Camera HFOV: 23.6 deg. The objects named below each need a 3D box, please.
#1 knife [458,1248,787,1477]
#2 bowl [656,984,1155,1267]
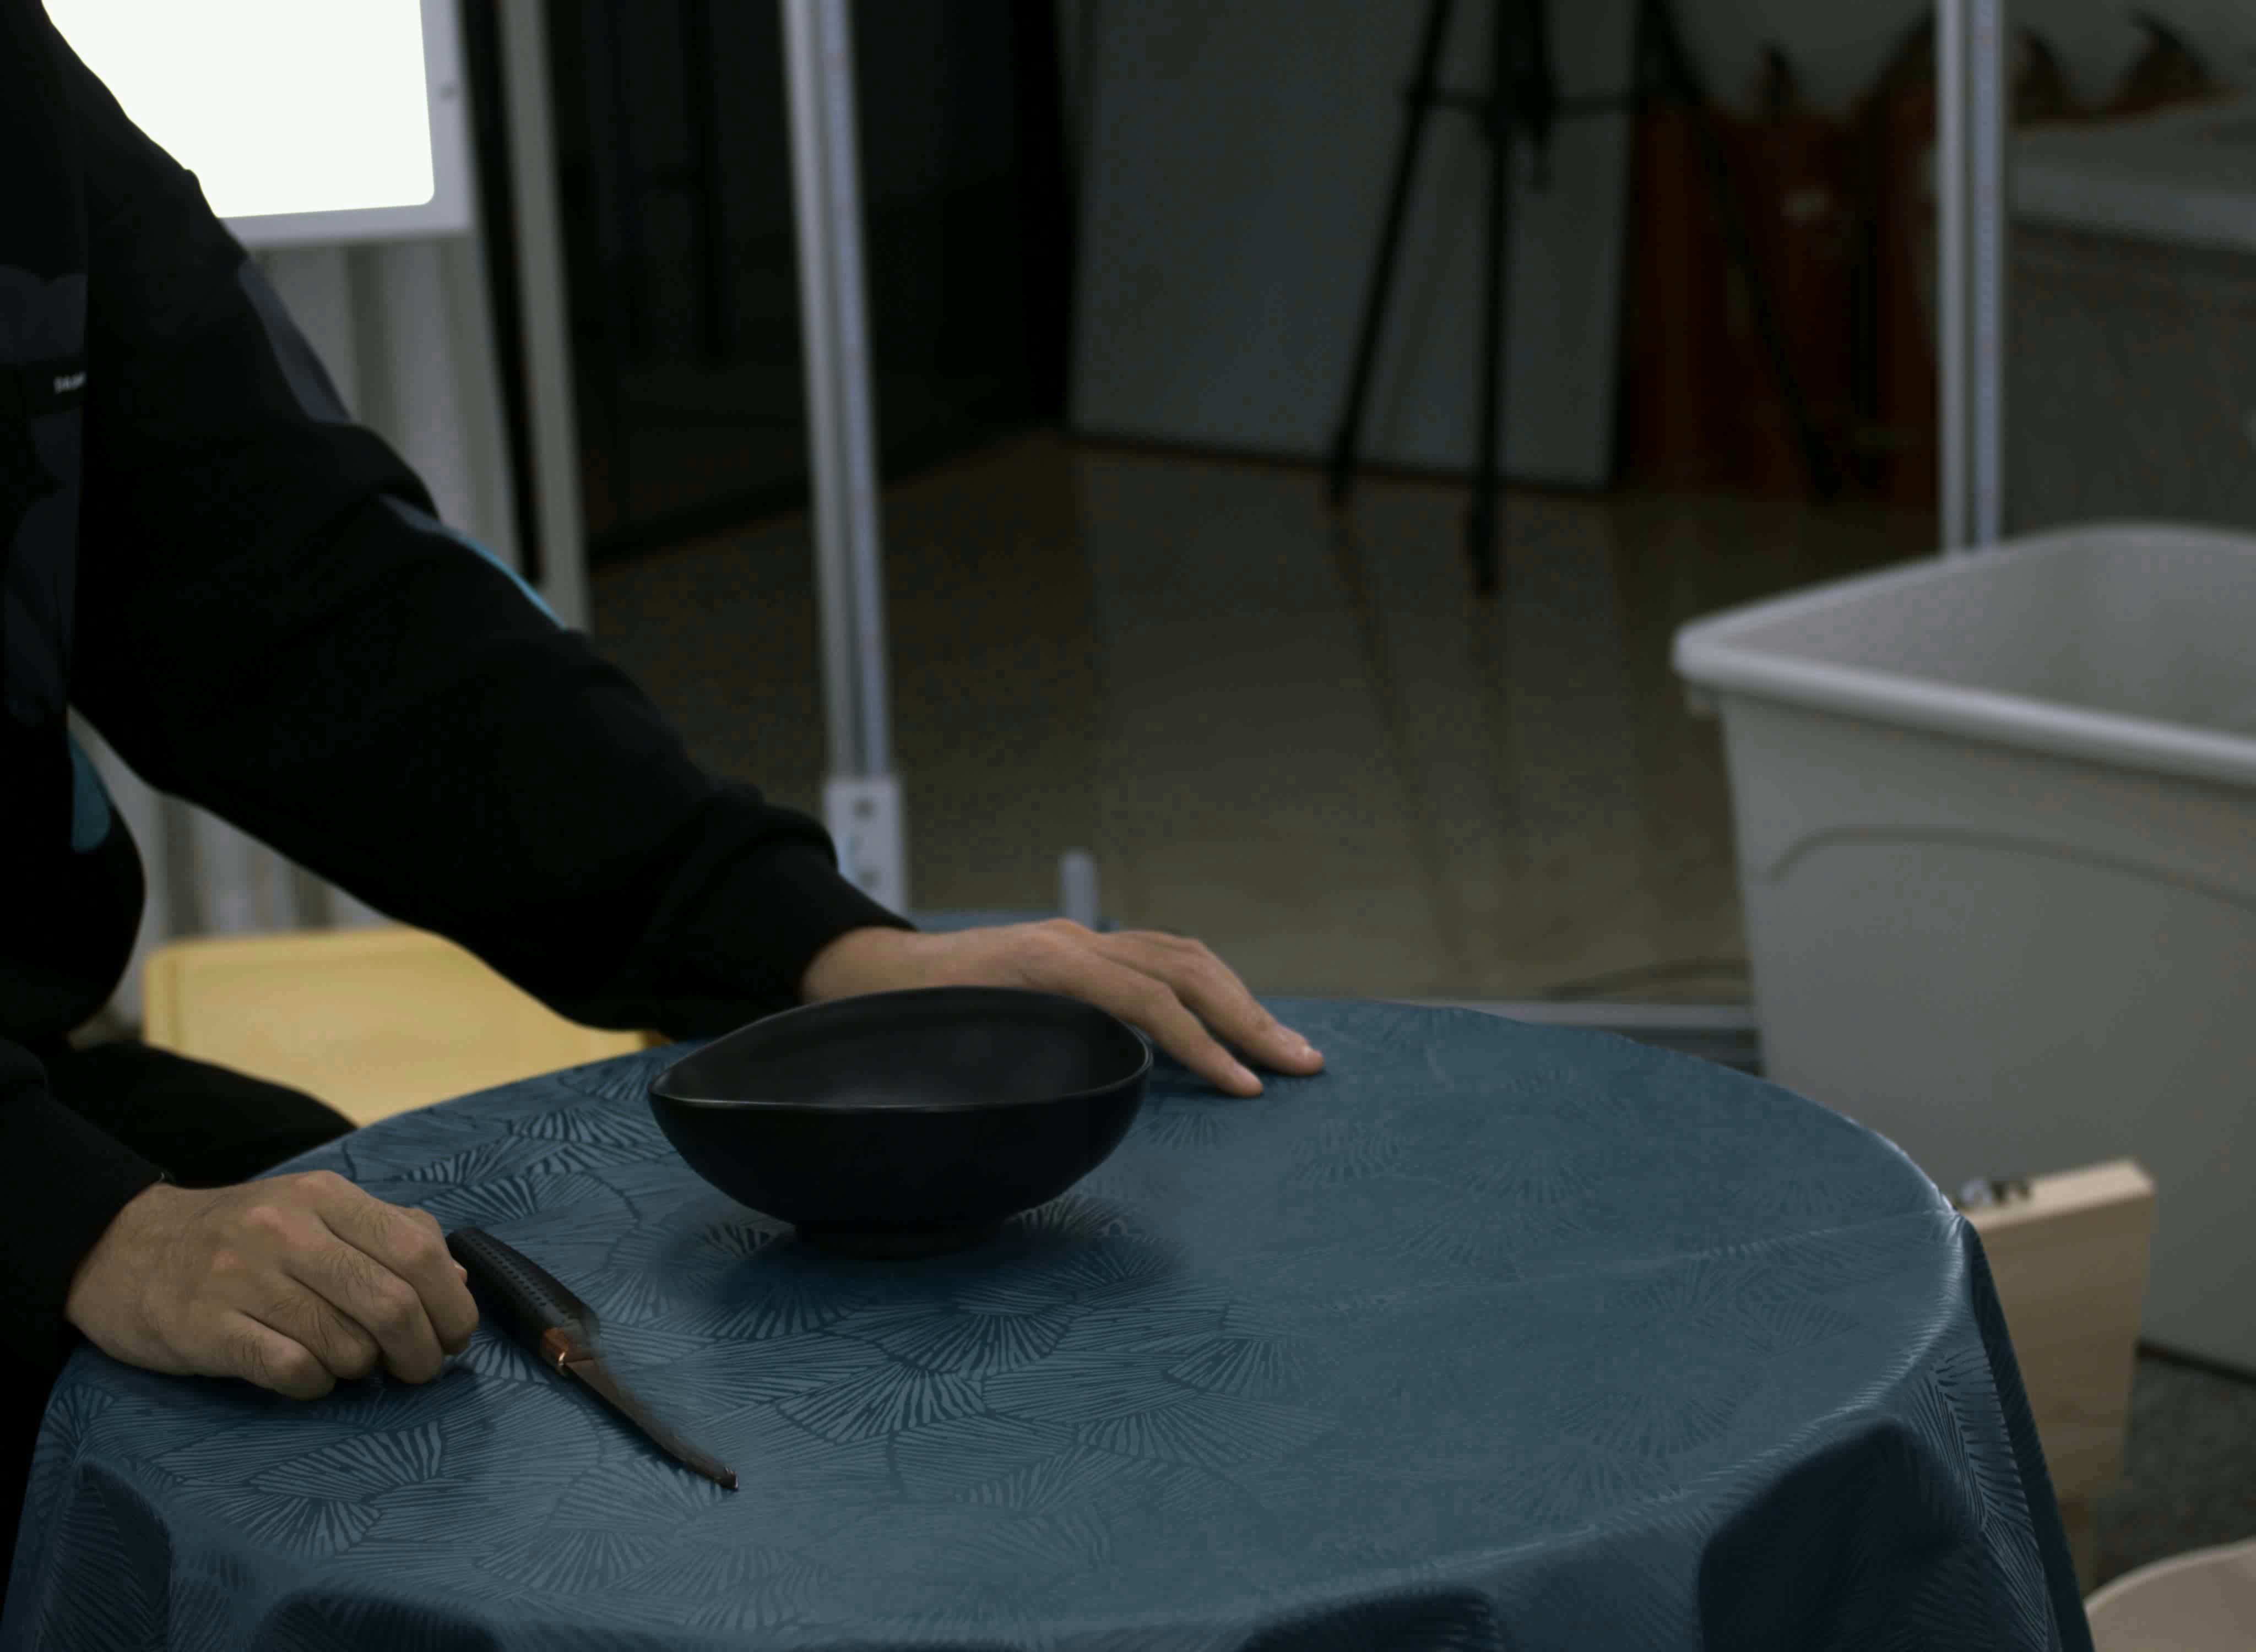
[{"bbox_3d":[-0.155,0.162,1.627,0.025,0.017,0.228,-15,18,-24],"label":"knife"},{"bbox_3d":[-0.071,0.101,1.738,0.170,0.067,0.136,-2,13,19],"label":"bowl"}]
